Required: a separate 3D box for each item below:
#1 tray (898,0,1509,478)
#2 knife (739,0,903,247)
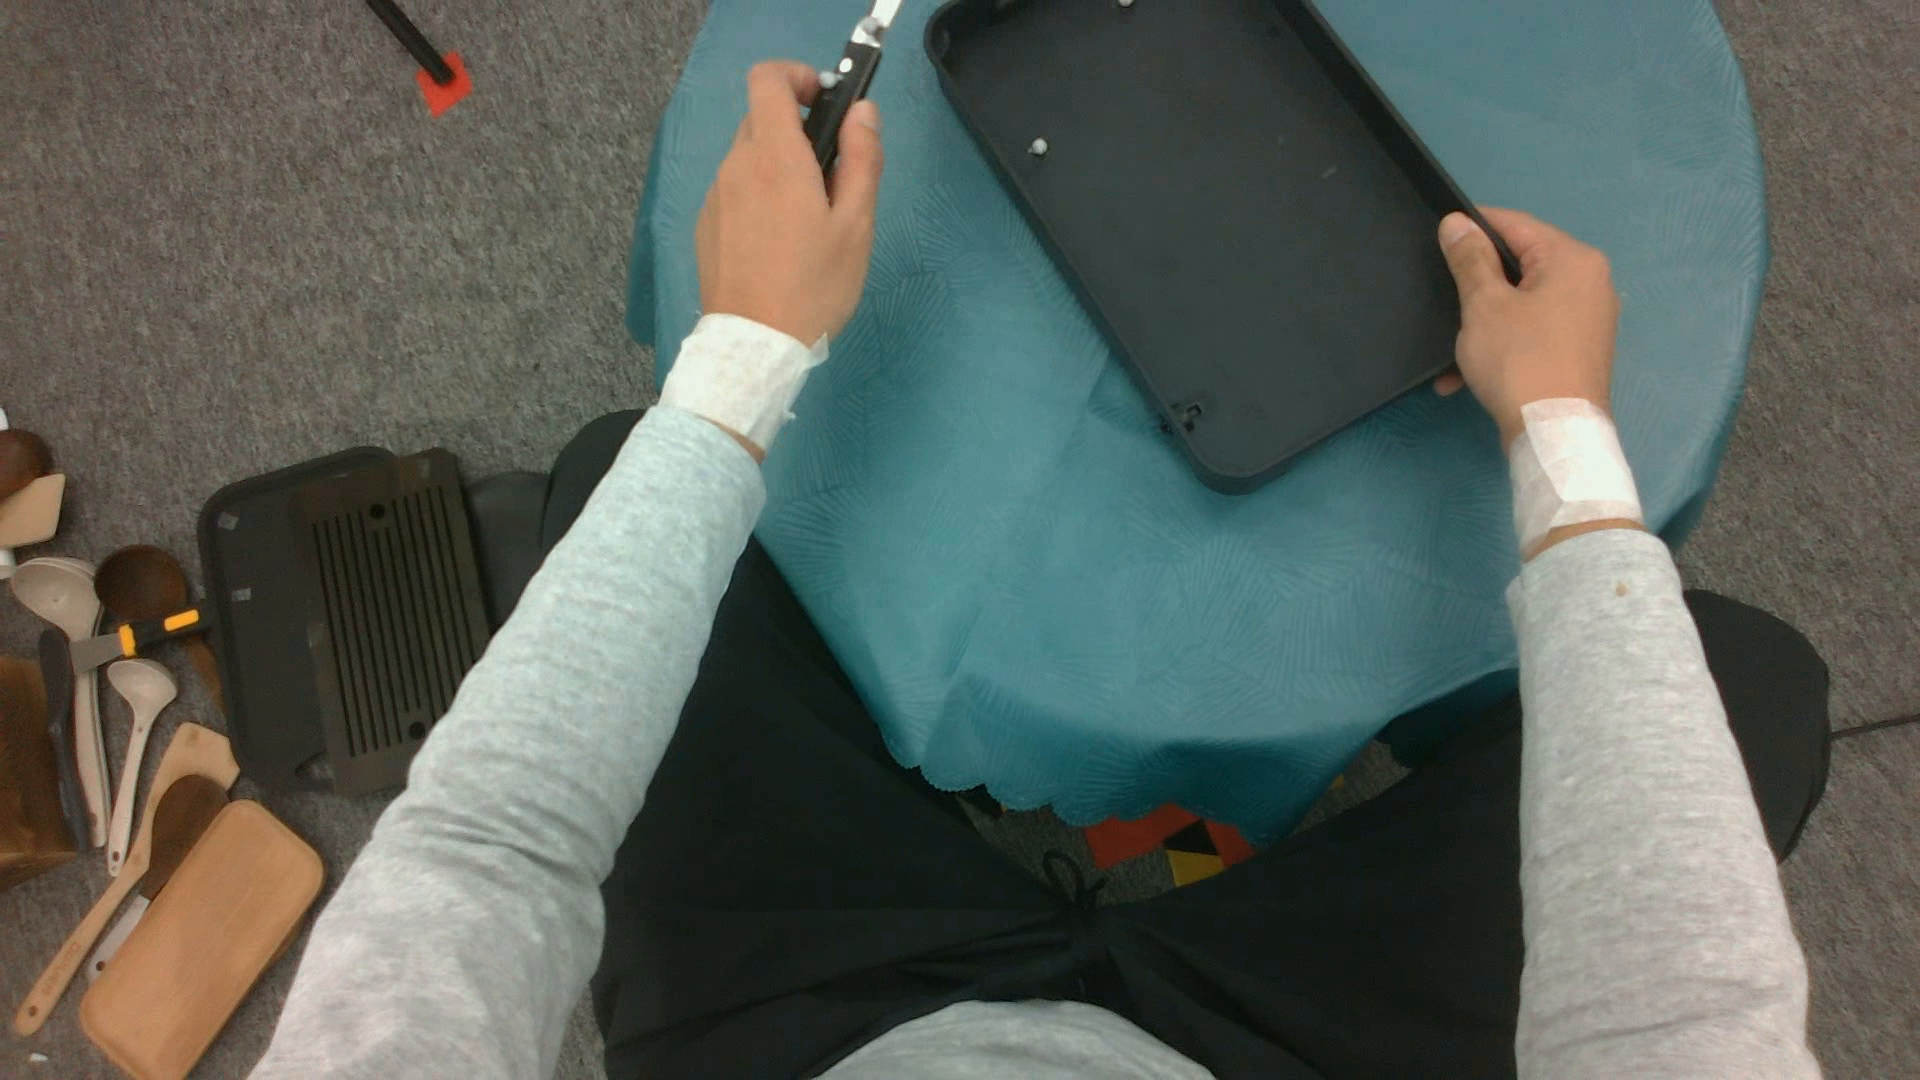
[{"bbox_3d":[0.118,-0.199,0.723,0.184,0.037,0.318,-32,73,-2],"label":"tray"},{"bbox_3d":[-0.041,-0.244,0.653,0.024,0.016,0.238,35,98,40],"label":"knife"}]
